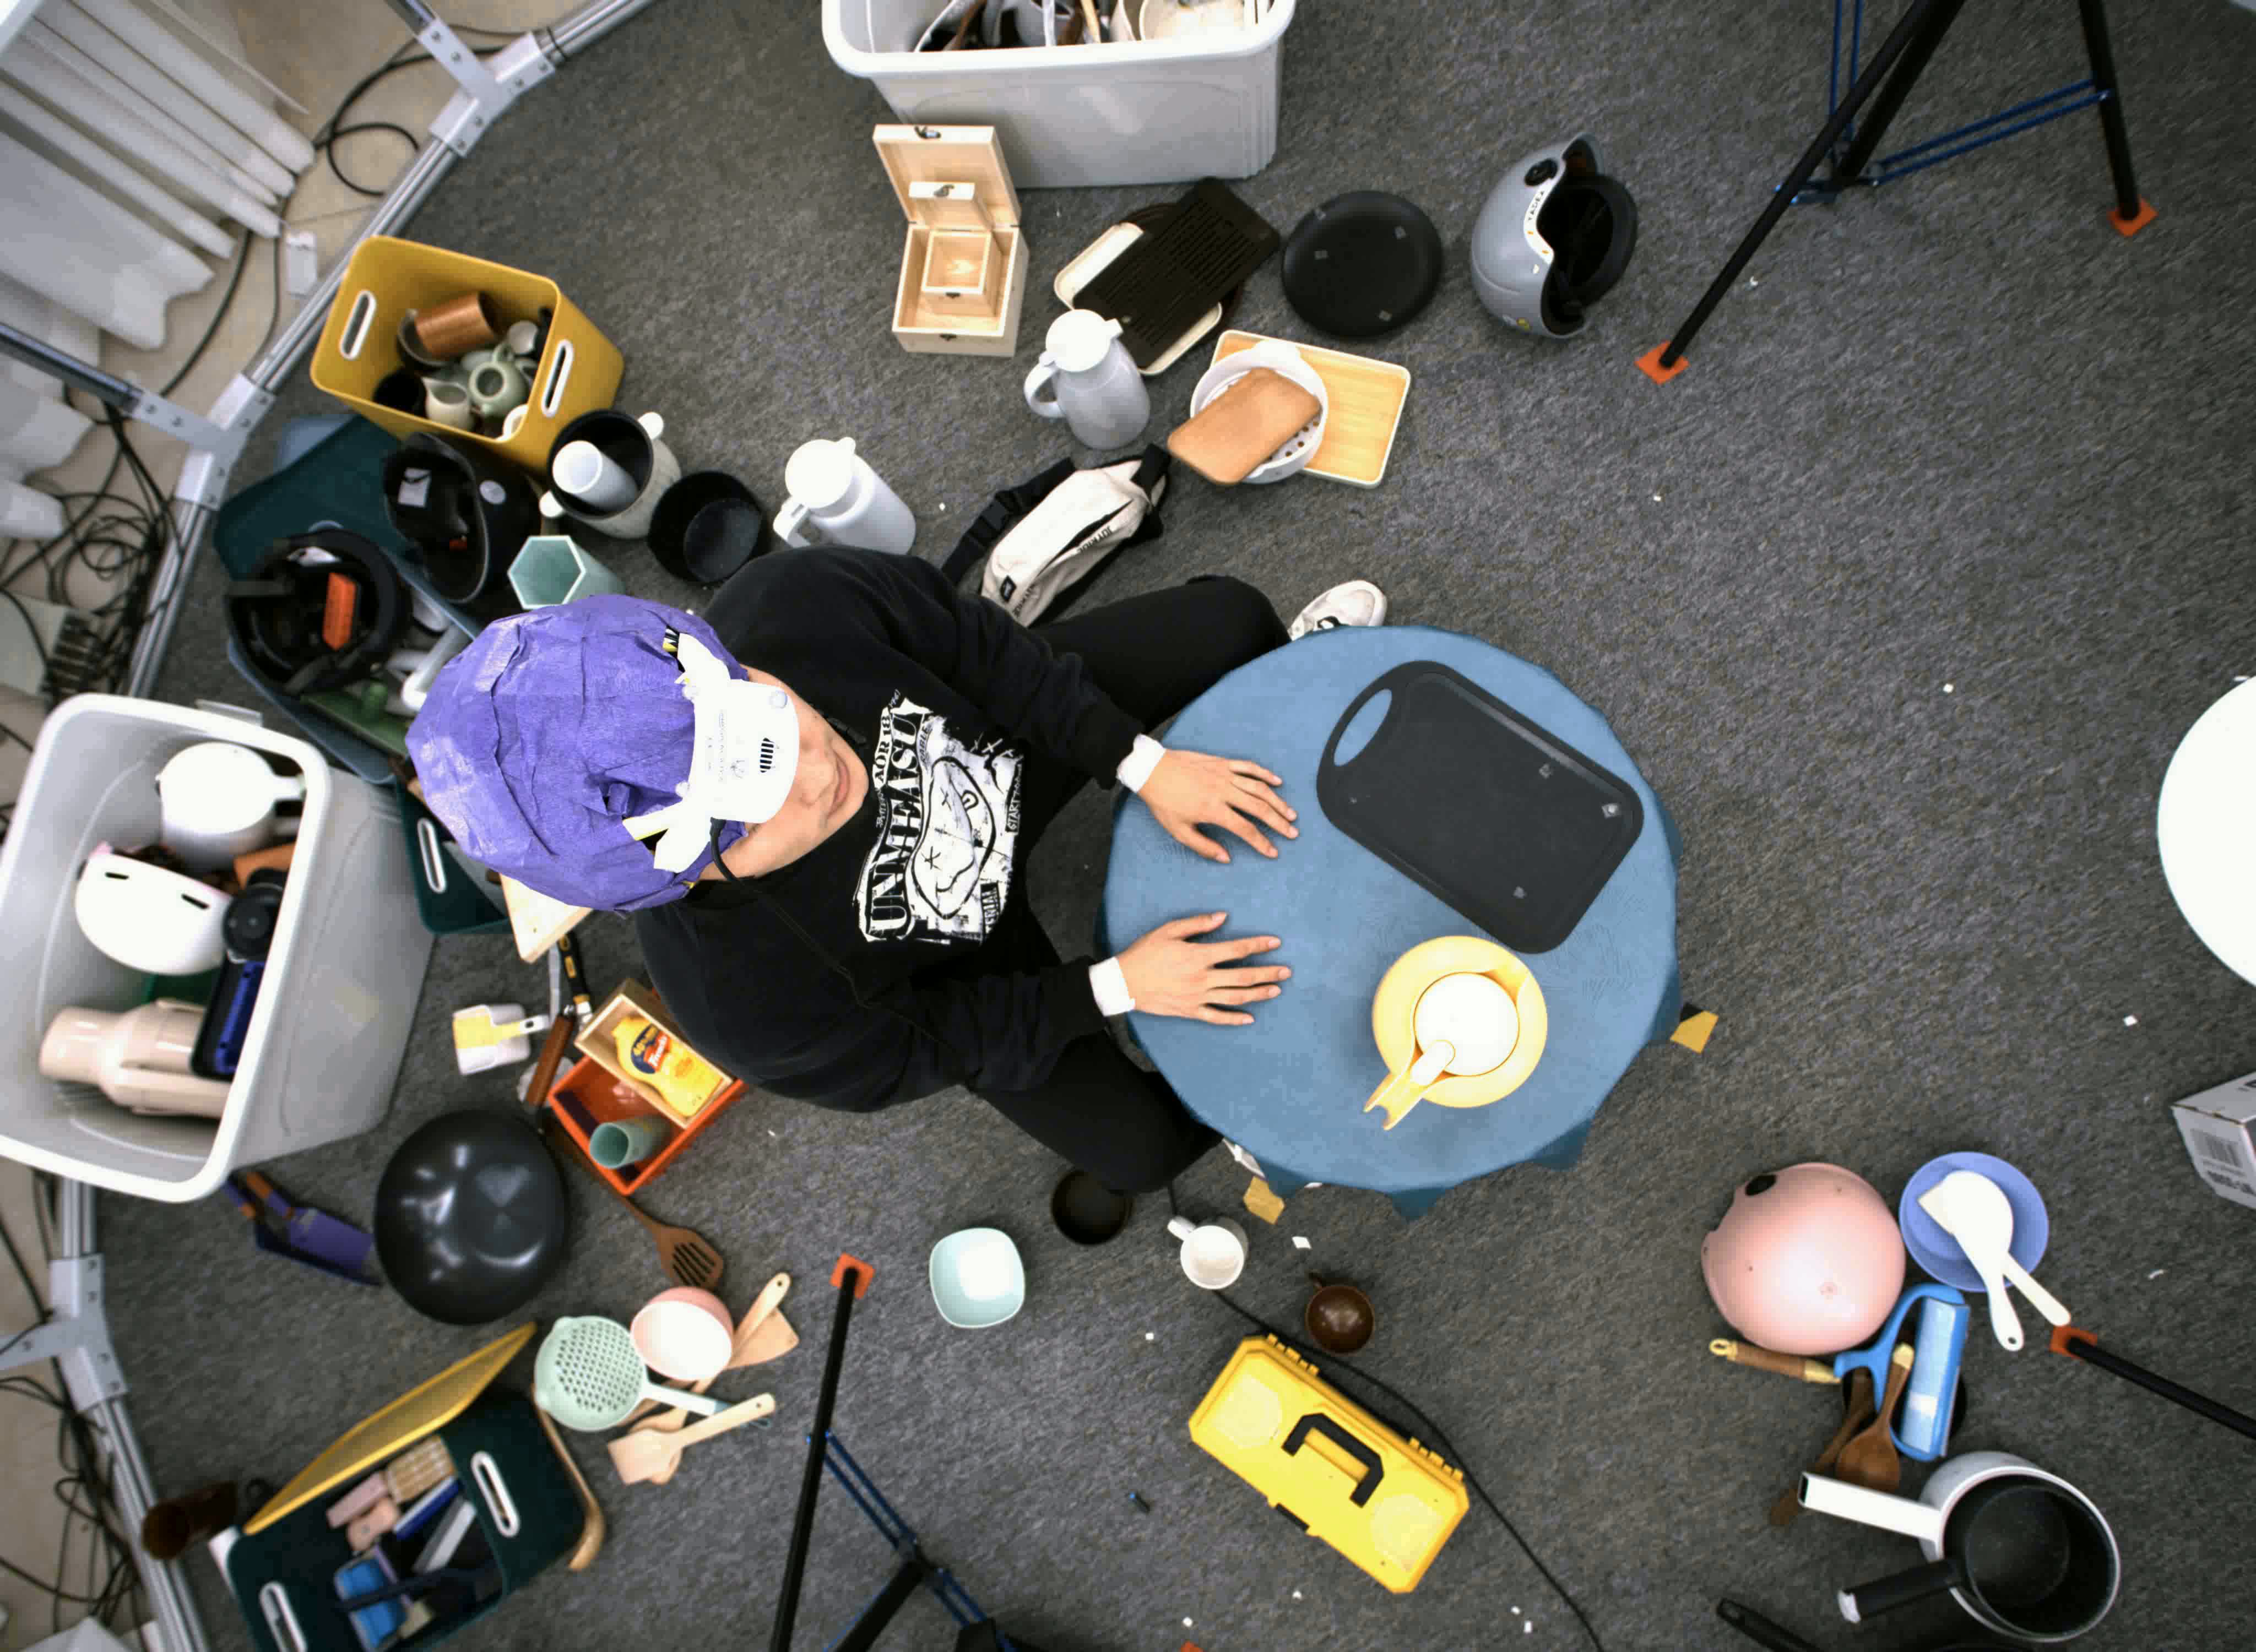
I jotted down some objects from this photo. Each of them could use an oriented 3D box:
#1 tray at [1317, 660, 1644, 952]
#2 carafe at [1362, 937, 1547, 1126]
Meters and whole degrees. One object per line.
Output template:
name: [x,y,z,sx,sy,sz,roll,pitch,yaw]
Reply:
tray: [0.361,-0.030,1.445,0.324,0.010,0.211,36,94,11]
carafe: [0.300,0.198,1.316,0.203,0.261,0.162,-46,77,2]
